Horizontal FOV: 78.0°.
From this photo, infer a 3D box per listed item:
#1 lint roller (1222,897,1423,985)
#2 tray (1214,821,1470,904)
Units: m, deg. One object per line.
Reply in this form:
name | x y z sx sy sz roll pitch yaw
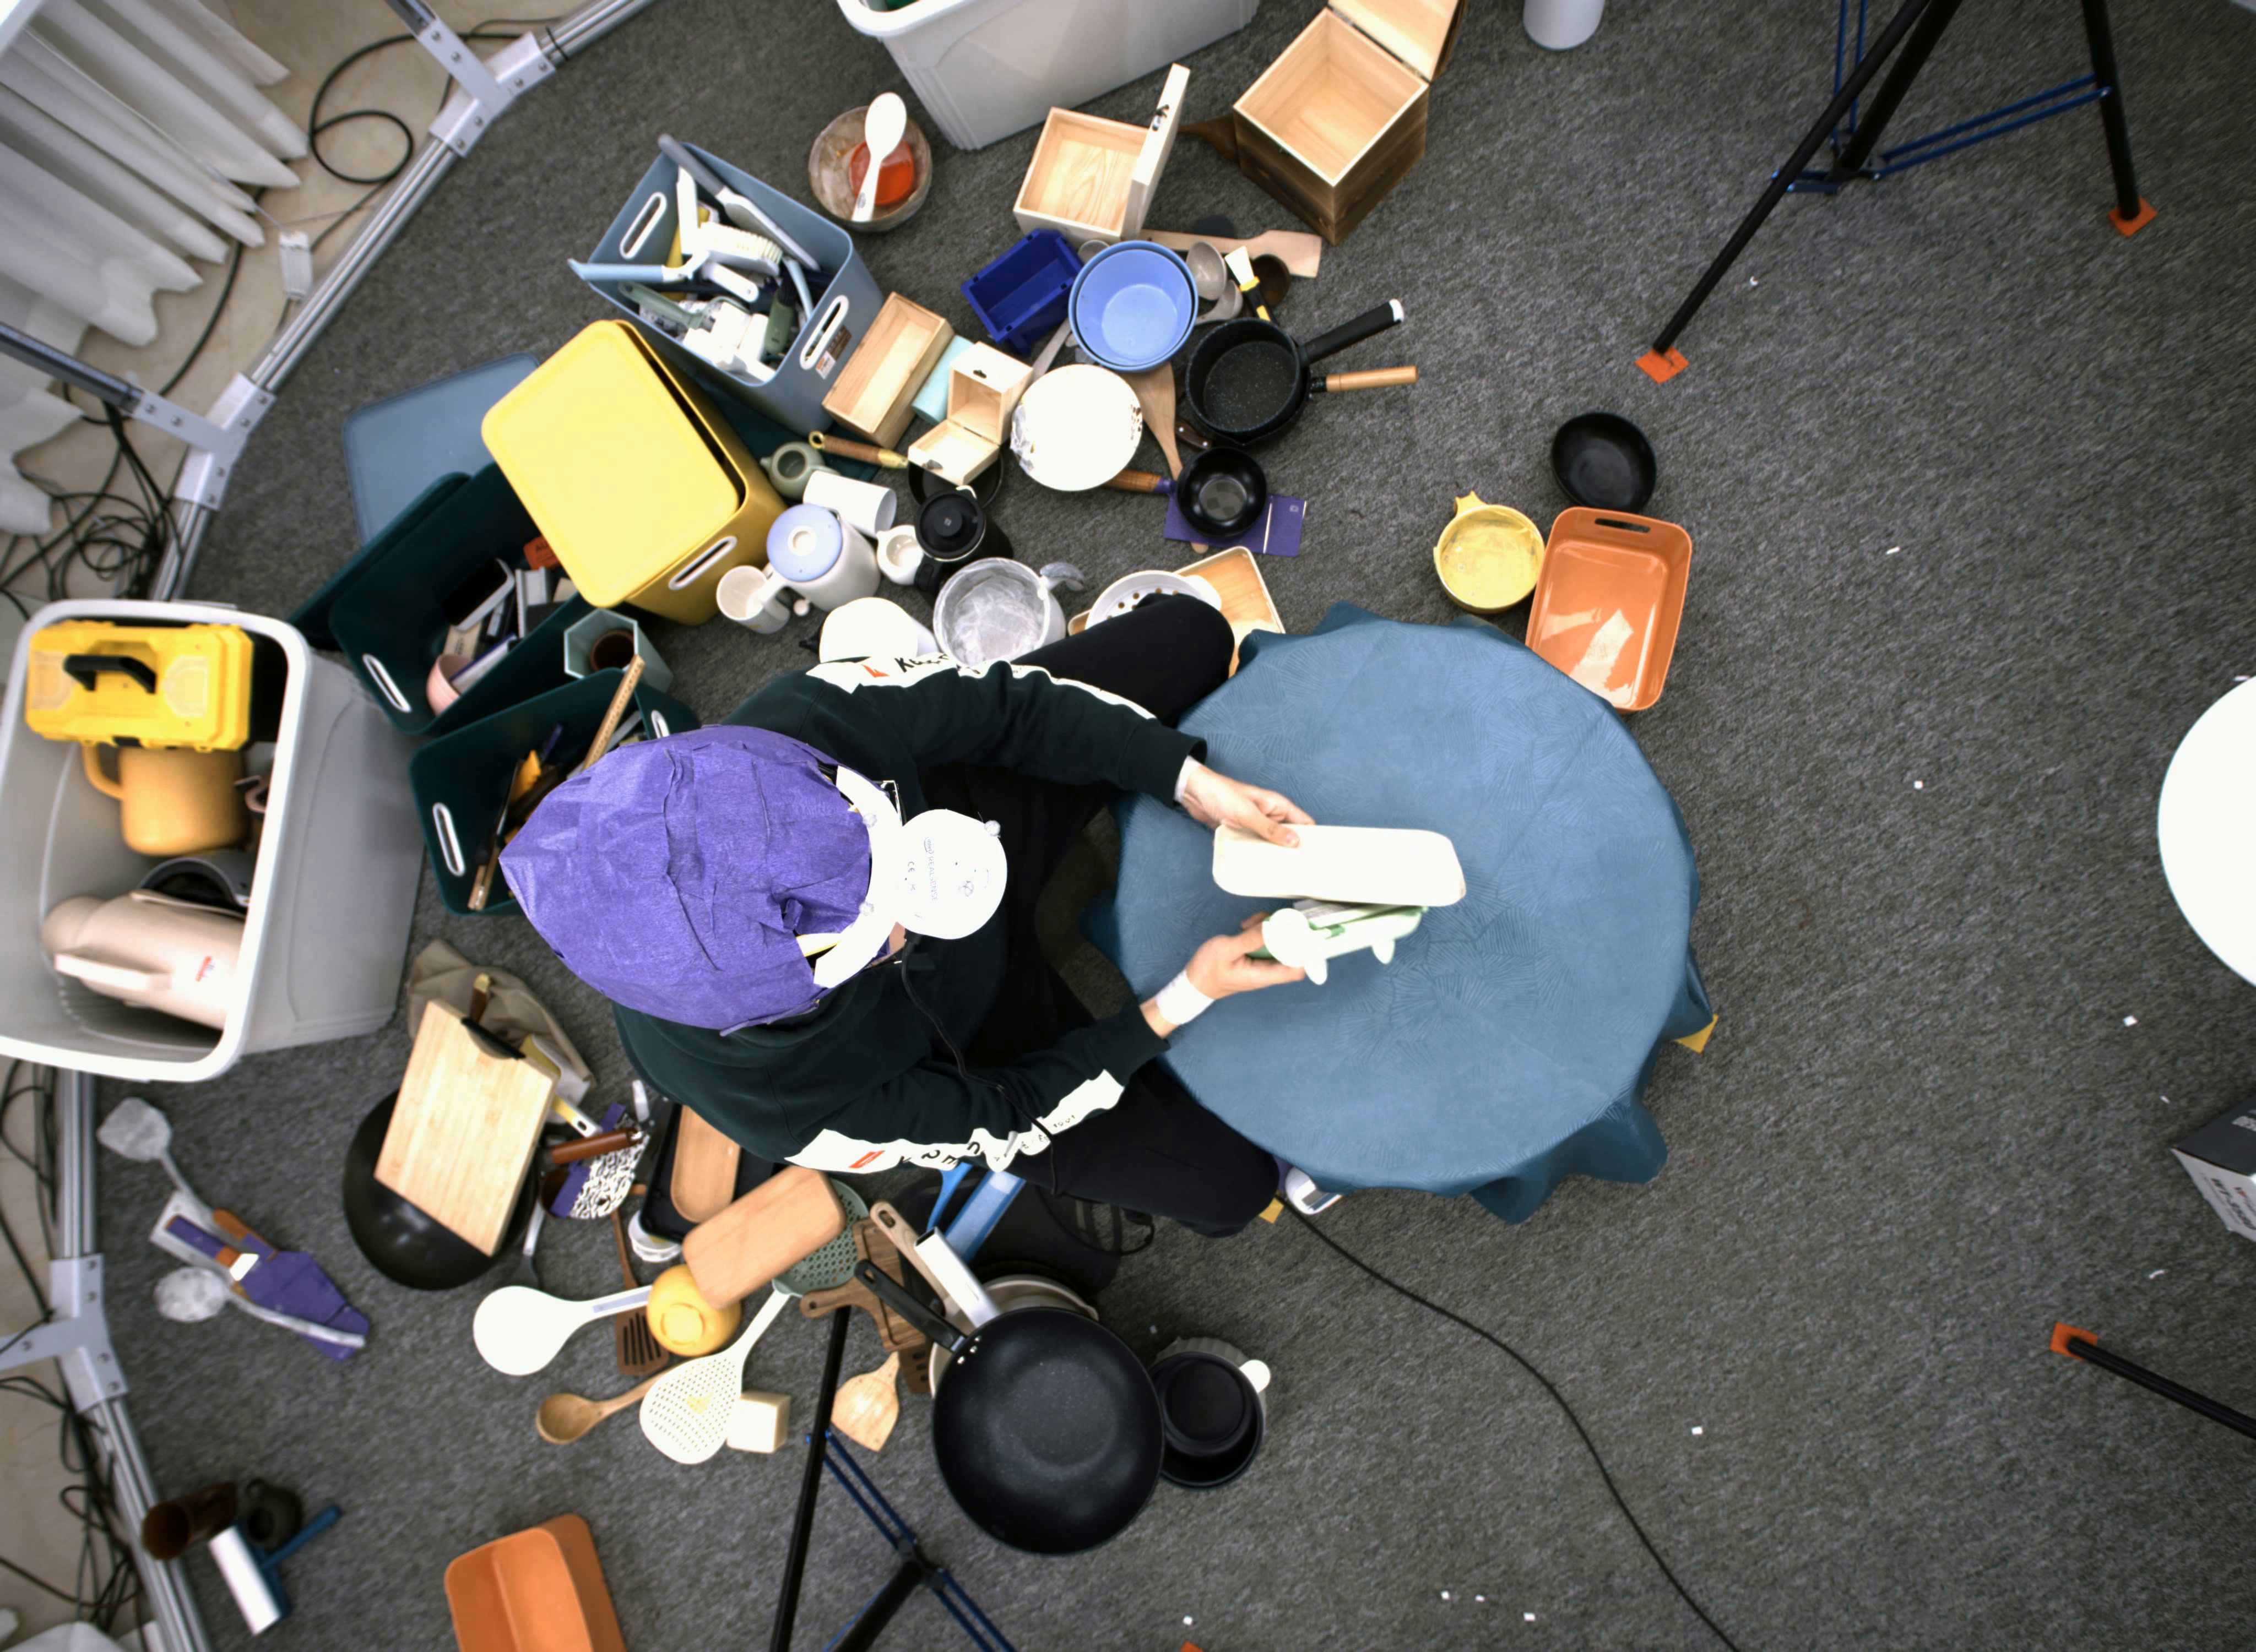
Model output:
lint roller | 0.169 0.119 1.345 0.187 0.196 0.081 -32 76 40
tray | 0.203 0.034 1.342 0.240 0.168 0.018 2 111 4
